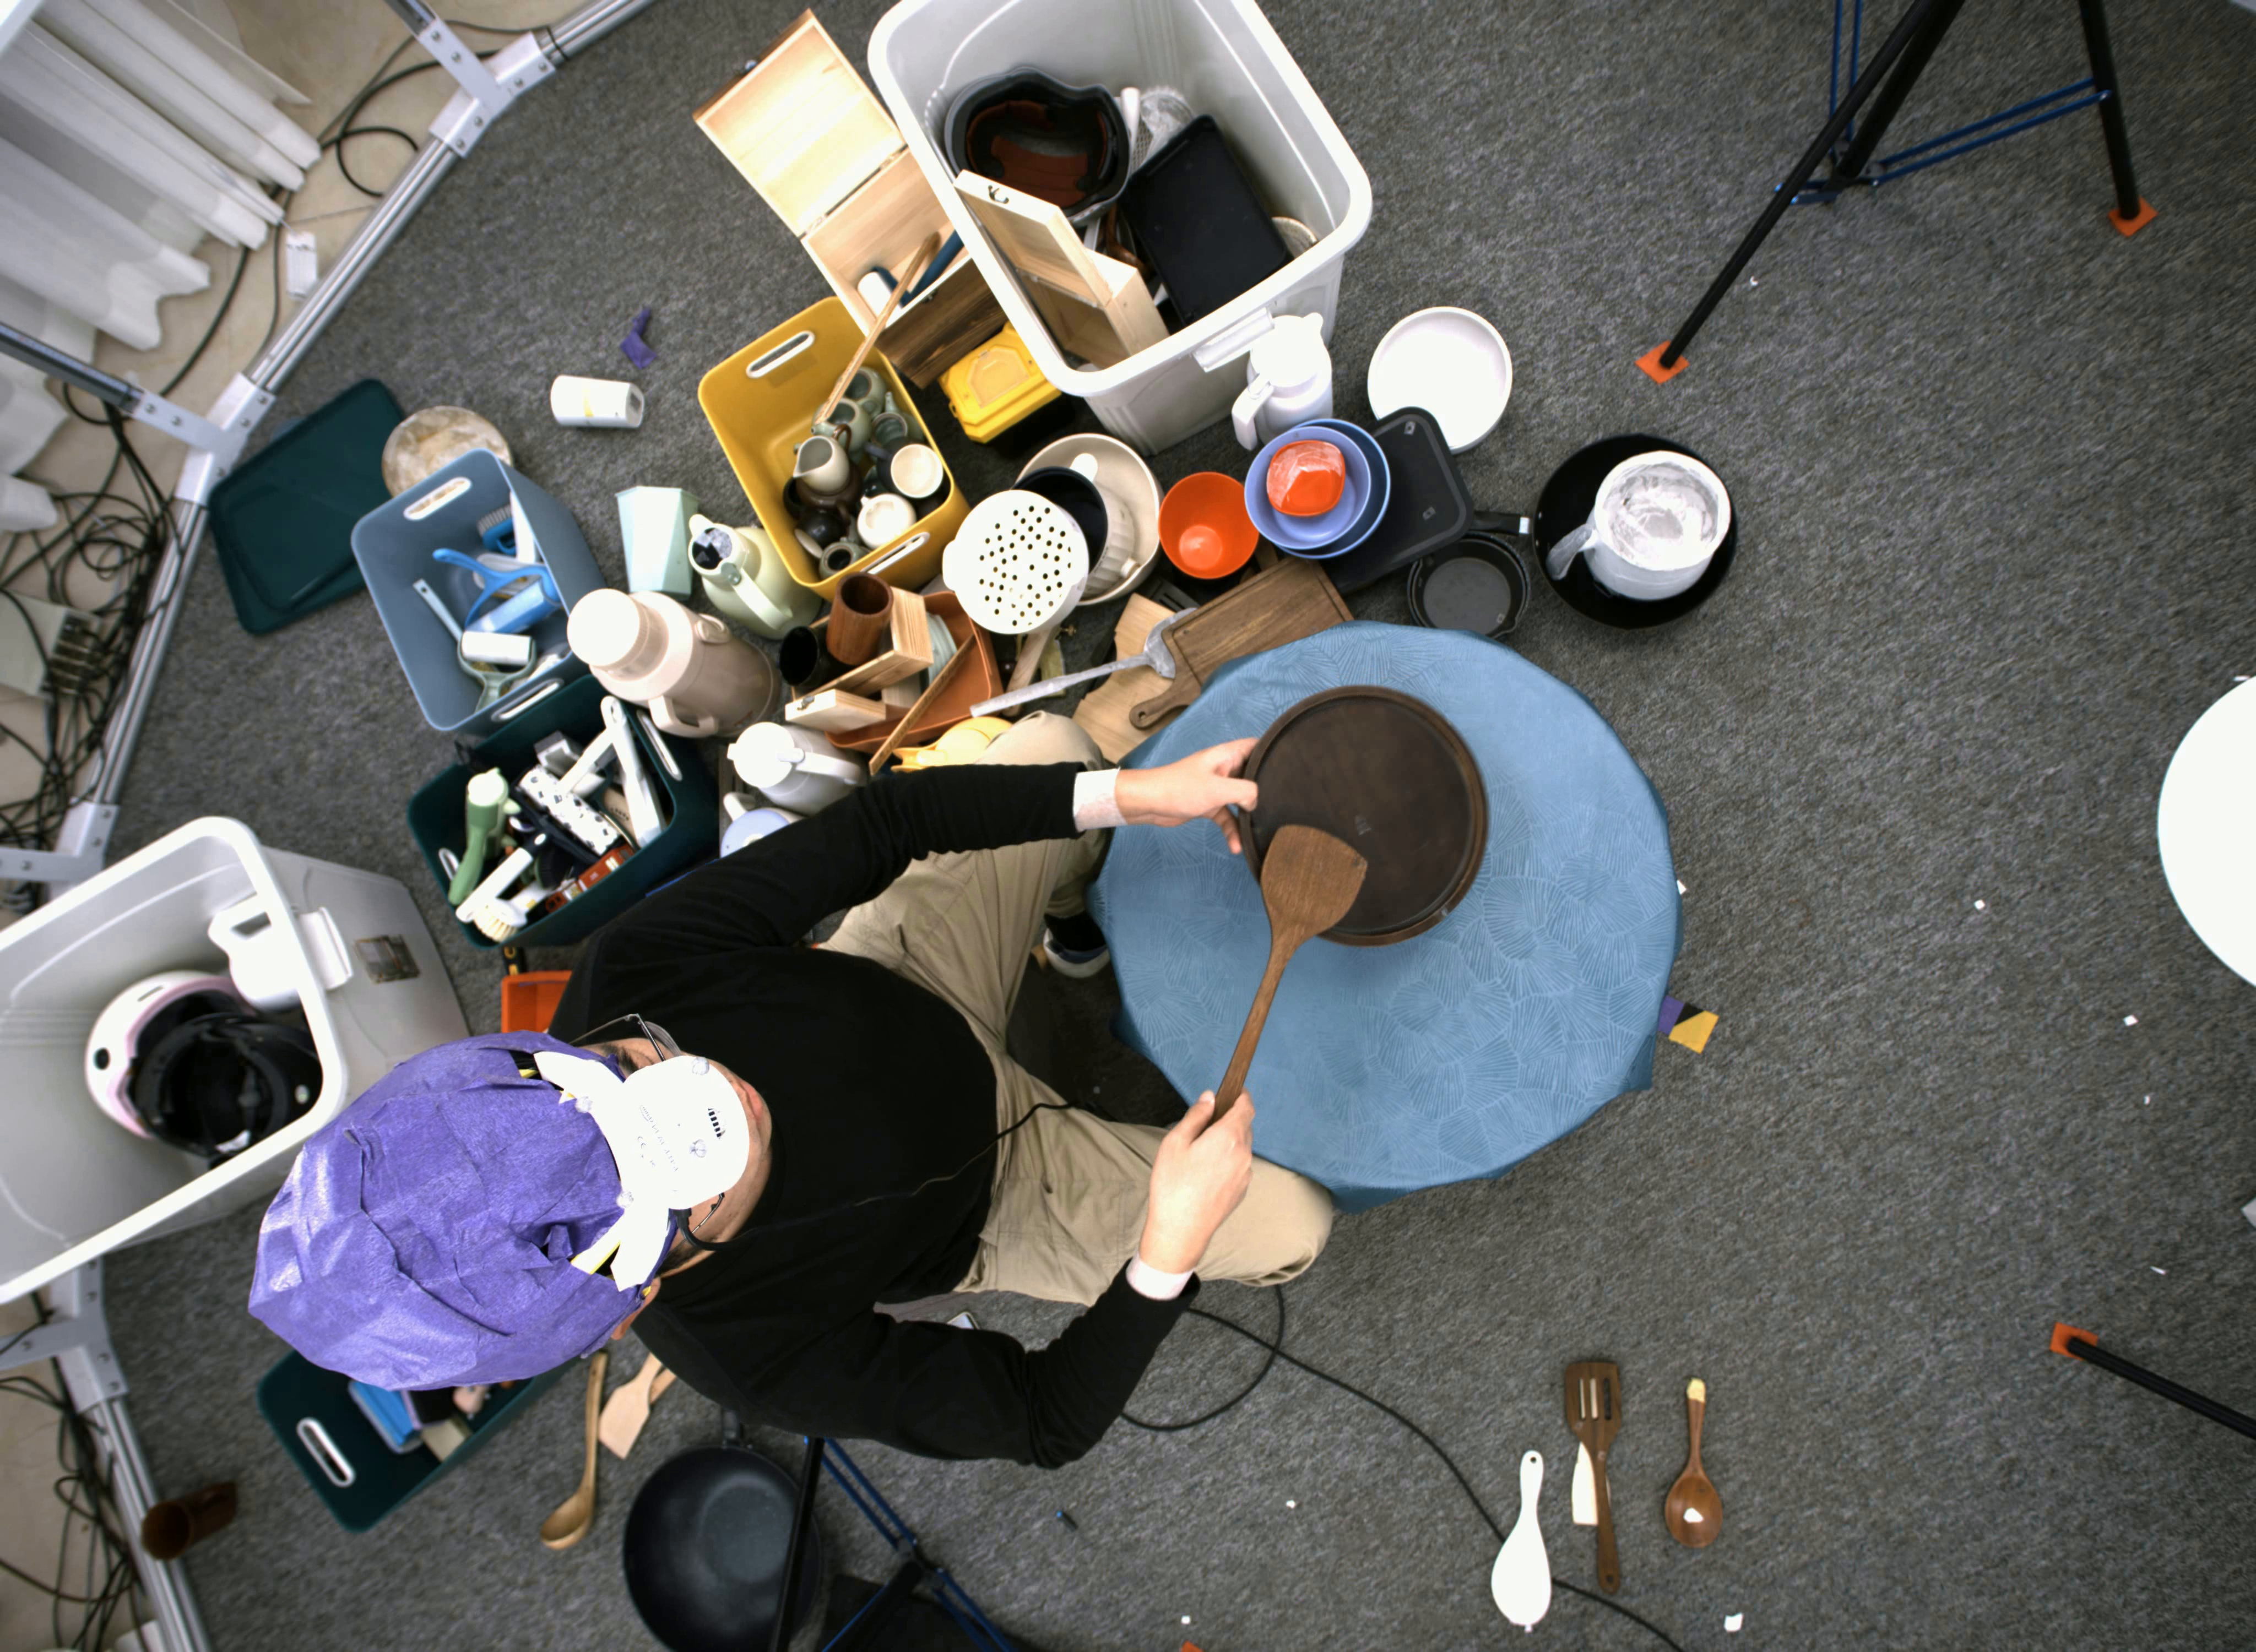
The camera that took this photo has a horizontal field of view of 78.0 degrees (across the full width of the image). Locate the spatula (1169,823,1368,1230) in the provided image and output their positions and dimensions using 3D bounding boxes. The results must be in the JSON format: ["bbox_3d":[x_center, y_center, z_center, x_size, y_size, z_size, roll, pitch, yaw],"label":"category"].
[{"bbox_3d":[0.115,0.179,1.253,0.096,0.016,0.382,23,80,-4],"label":"spatula"}]

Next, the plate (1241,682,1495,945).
[{"bbox_3d":[0.229,-0.013,1.321,0.254,0.029,0.254,0,90,-9],"label":"plate"}]
